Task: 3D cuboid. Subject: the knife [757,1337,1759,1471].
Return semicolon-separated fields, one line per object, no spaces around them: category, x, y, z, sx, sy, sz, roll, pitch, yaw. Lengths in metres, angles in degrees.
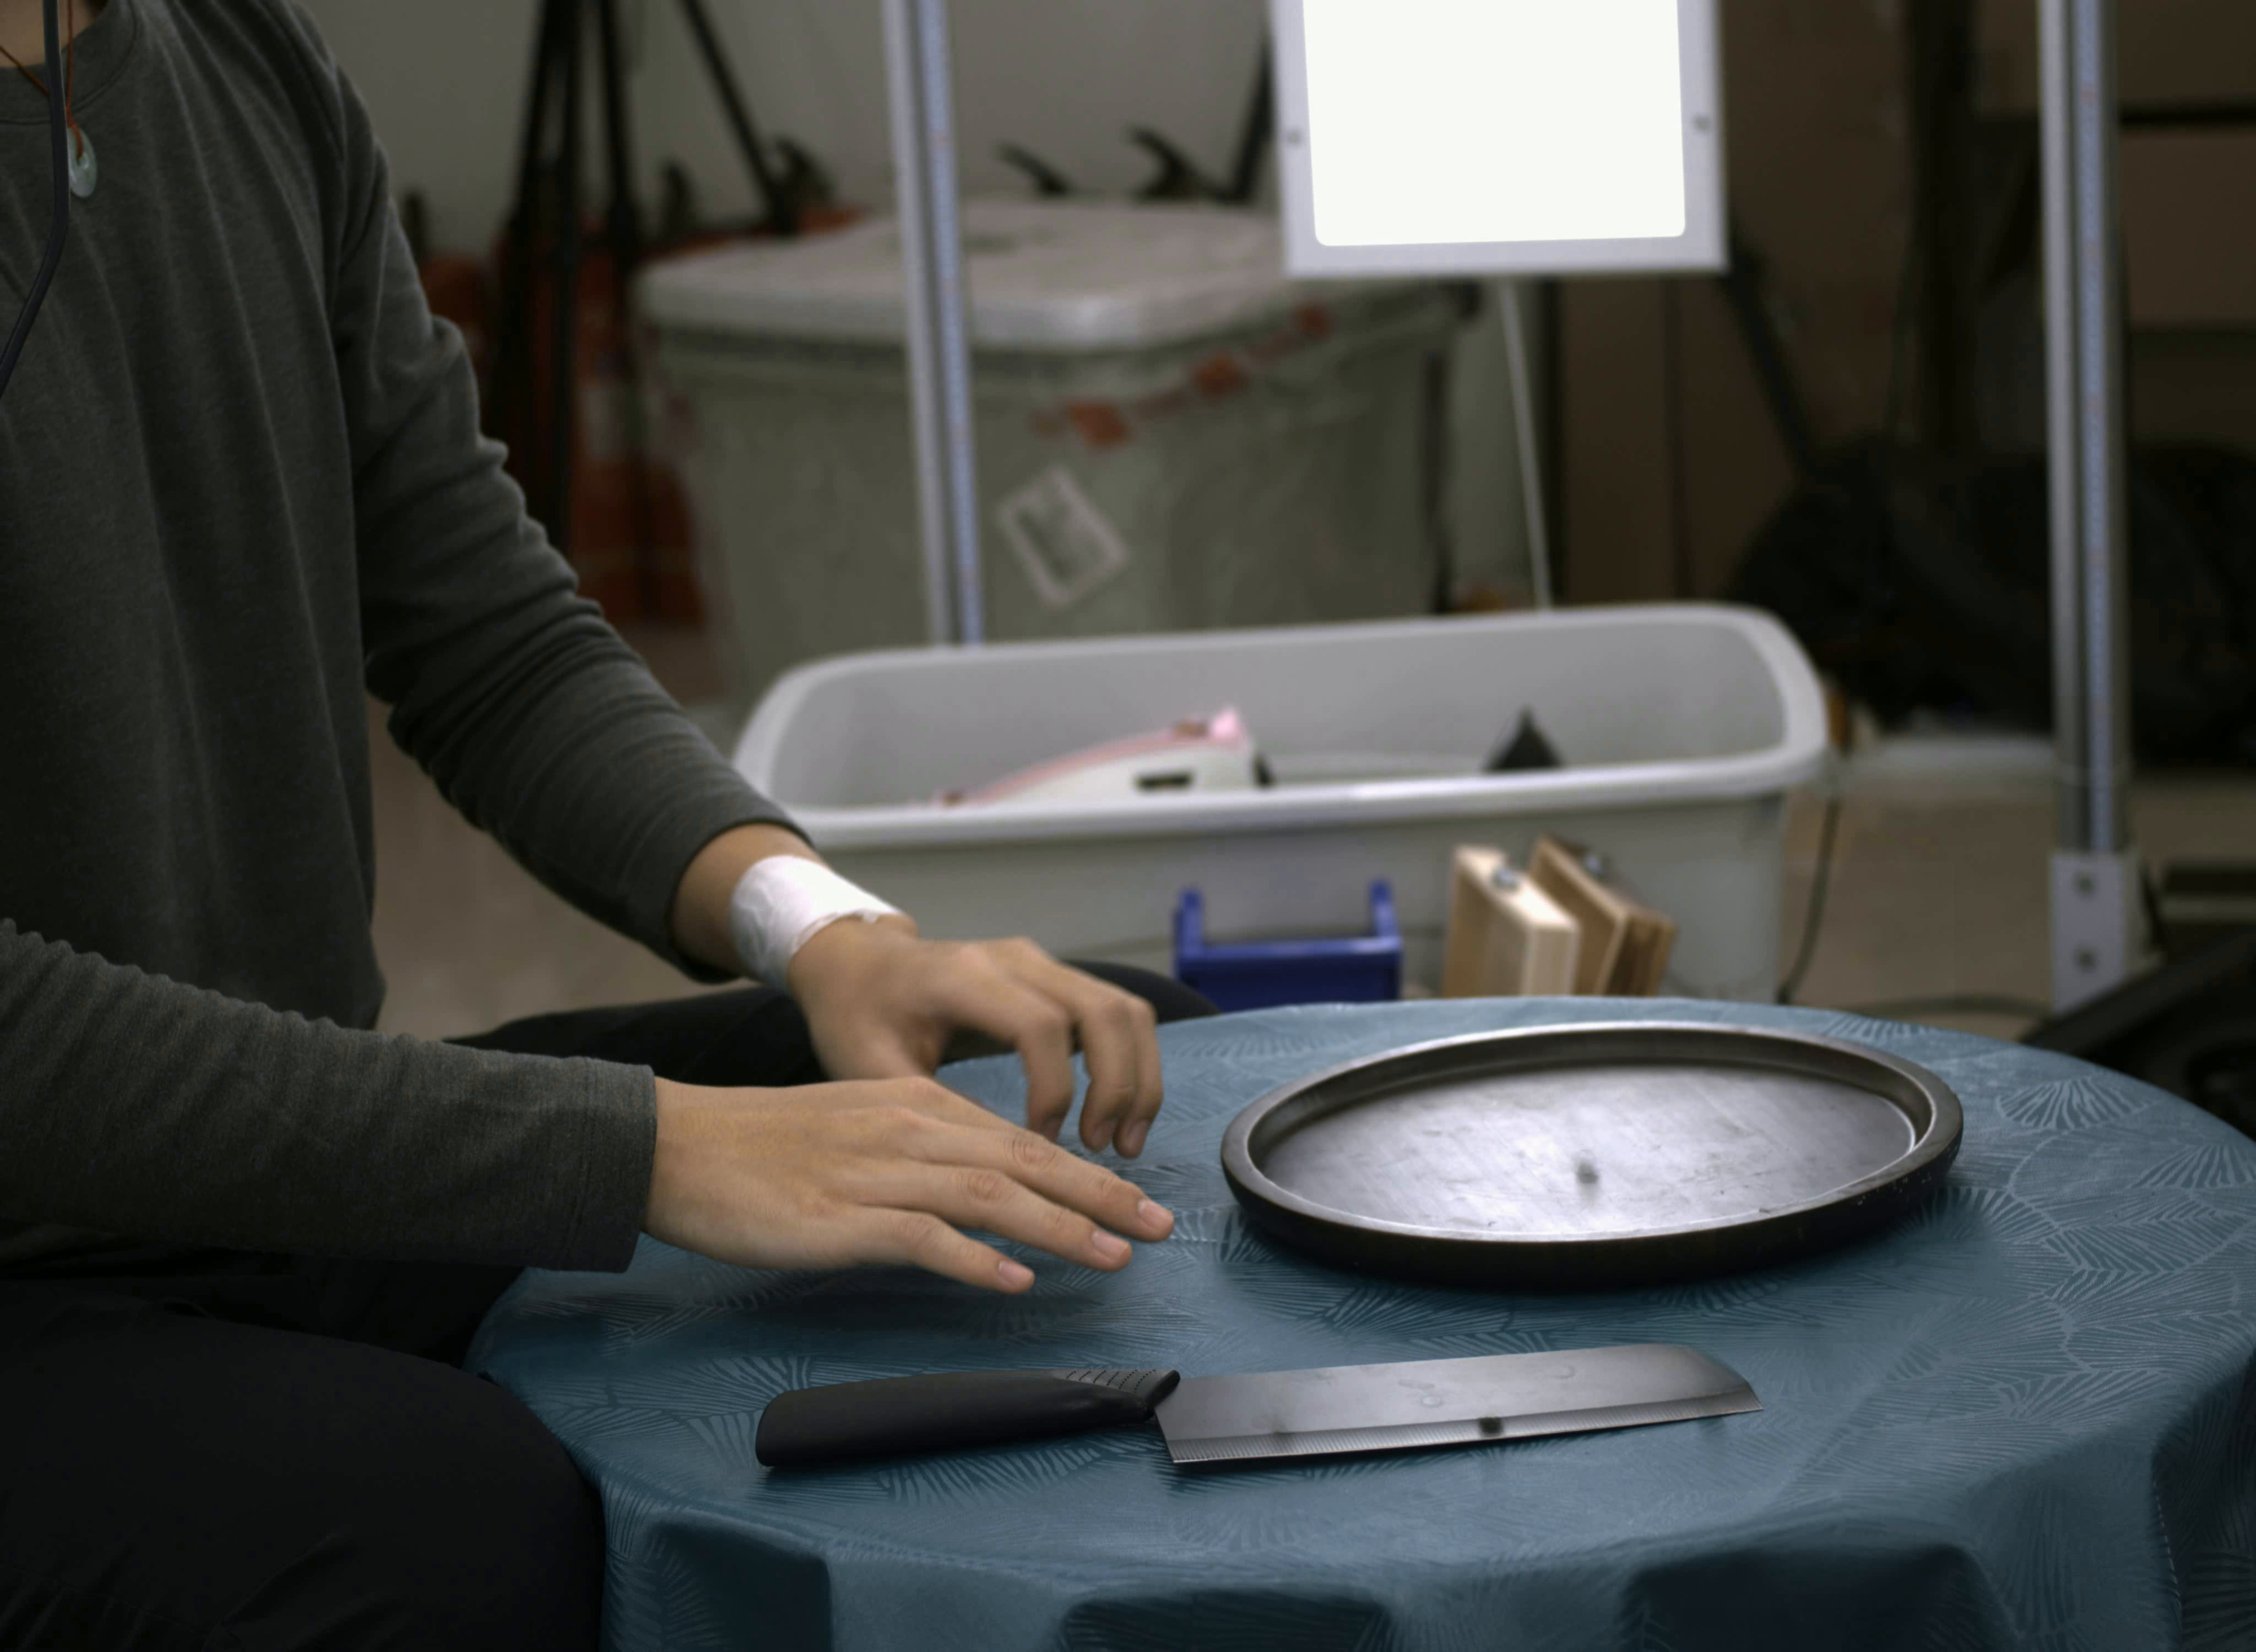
knife;0.039;0.176;1.659;0.301;0.021;0.081;-3;15;1

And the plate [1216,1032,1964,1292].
plate;0.158;0.111;1.862;0.254;0.029;0.254;-4;14;0
